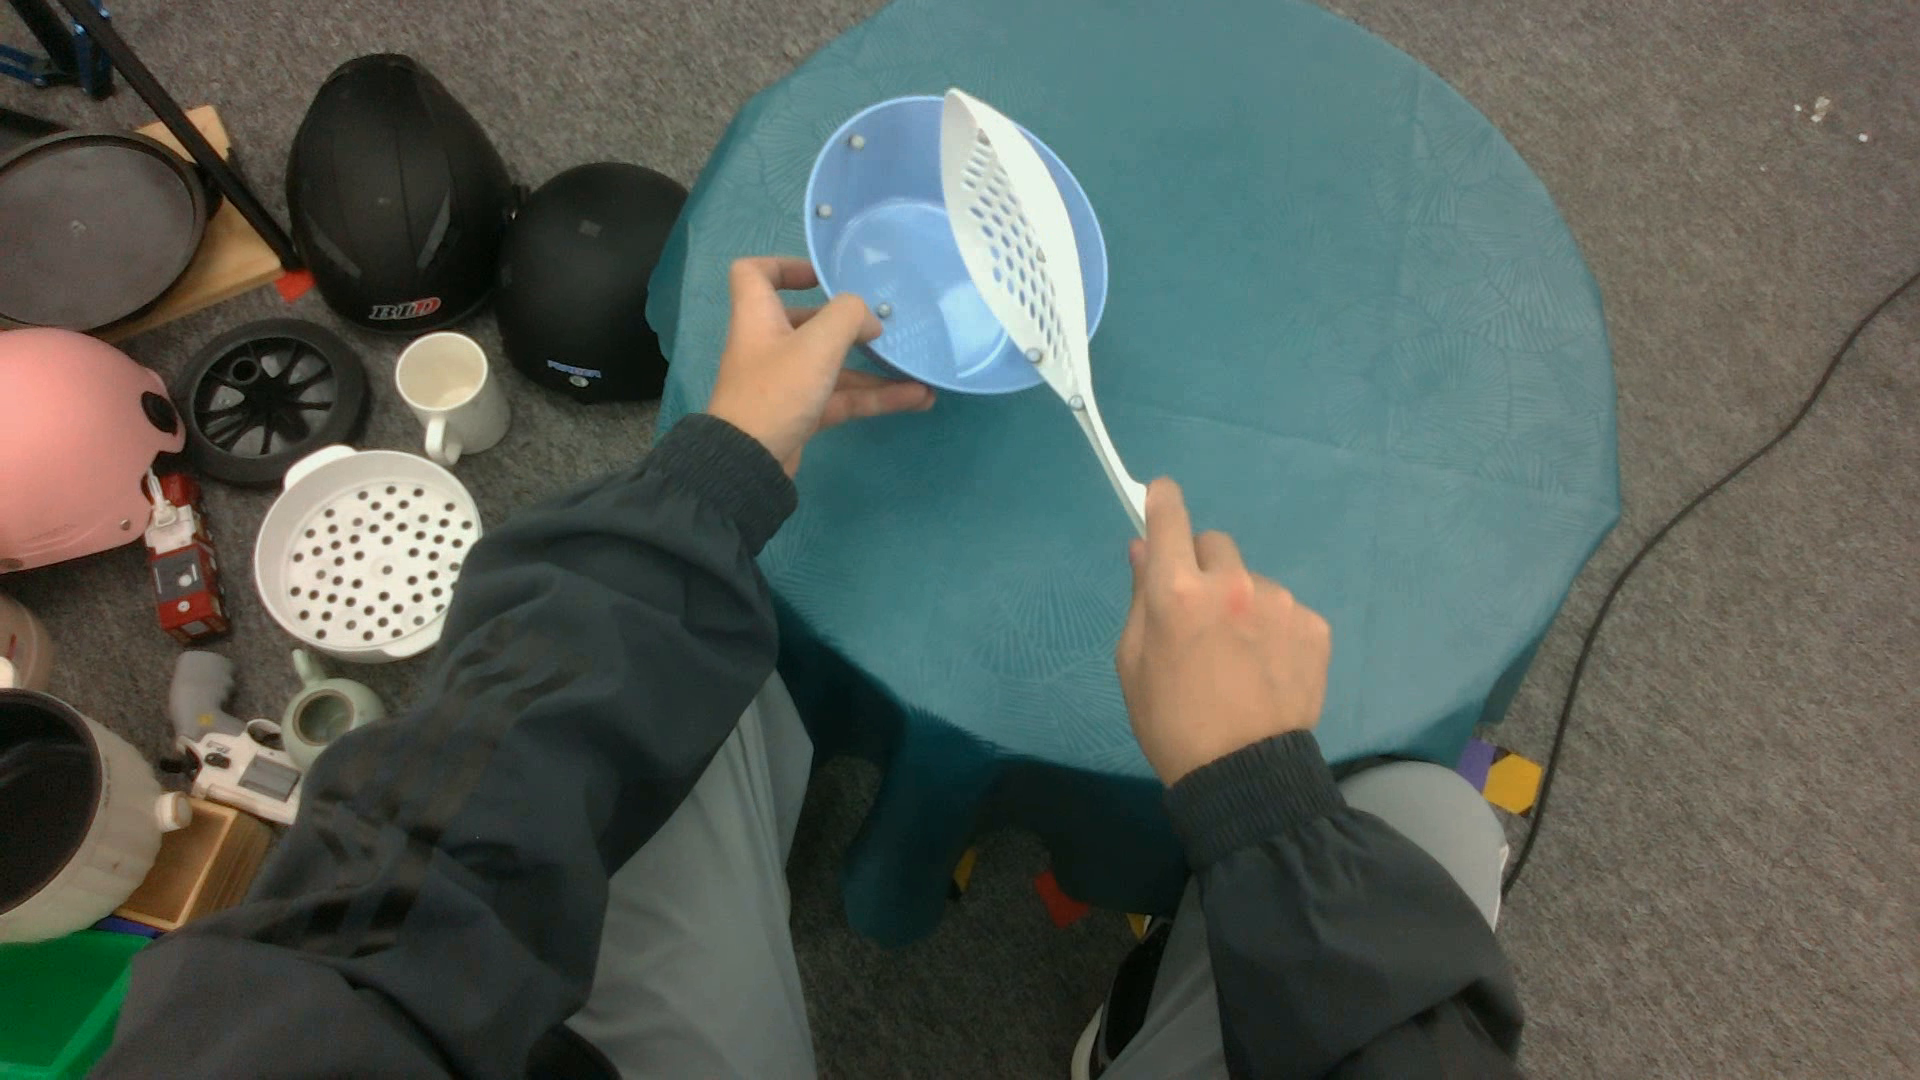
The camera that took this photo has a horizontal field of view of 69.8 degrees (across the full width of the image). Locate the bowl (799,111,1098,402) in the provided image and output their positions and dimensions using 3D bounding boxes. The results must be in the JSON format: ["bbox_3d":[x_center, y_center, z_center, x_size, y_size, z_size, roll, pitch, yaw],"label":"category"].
[{"bbox_3d":[-0.014,-0.151,0.788,0.176,0.070,0.176,6,72,-20],"label":"bowl"}]

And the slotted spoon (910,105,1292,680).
[{"bbox_3d":[0.063,-0.074,0.701,0.050,0.136,0.348,-20,71,-13],"label":"slotted spoon"}]
